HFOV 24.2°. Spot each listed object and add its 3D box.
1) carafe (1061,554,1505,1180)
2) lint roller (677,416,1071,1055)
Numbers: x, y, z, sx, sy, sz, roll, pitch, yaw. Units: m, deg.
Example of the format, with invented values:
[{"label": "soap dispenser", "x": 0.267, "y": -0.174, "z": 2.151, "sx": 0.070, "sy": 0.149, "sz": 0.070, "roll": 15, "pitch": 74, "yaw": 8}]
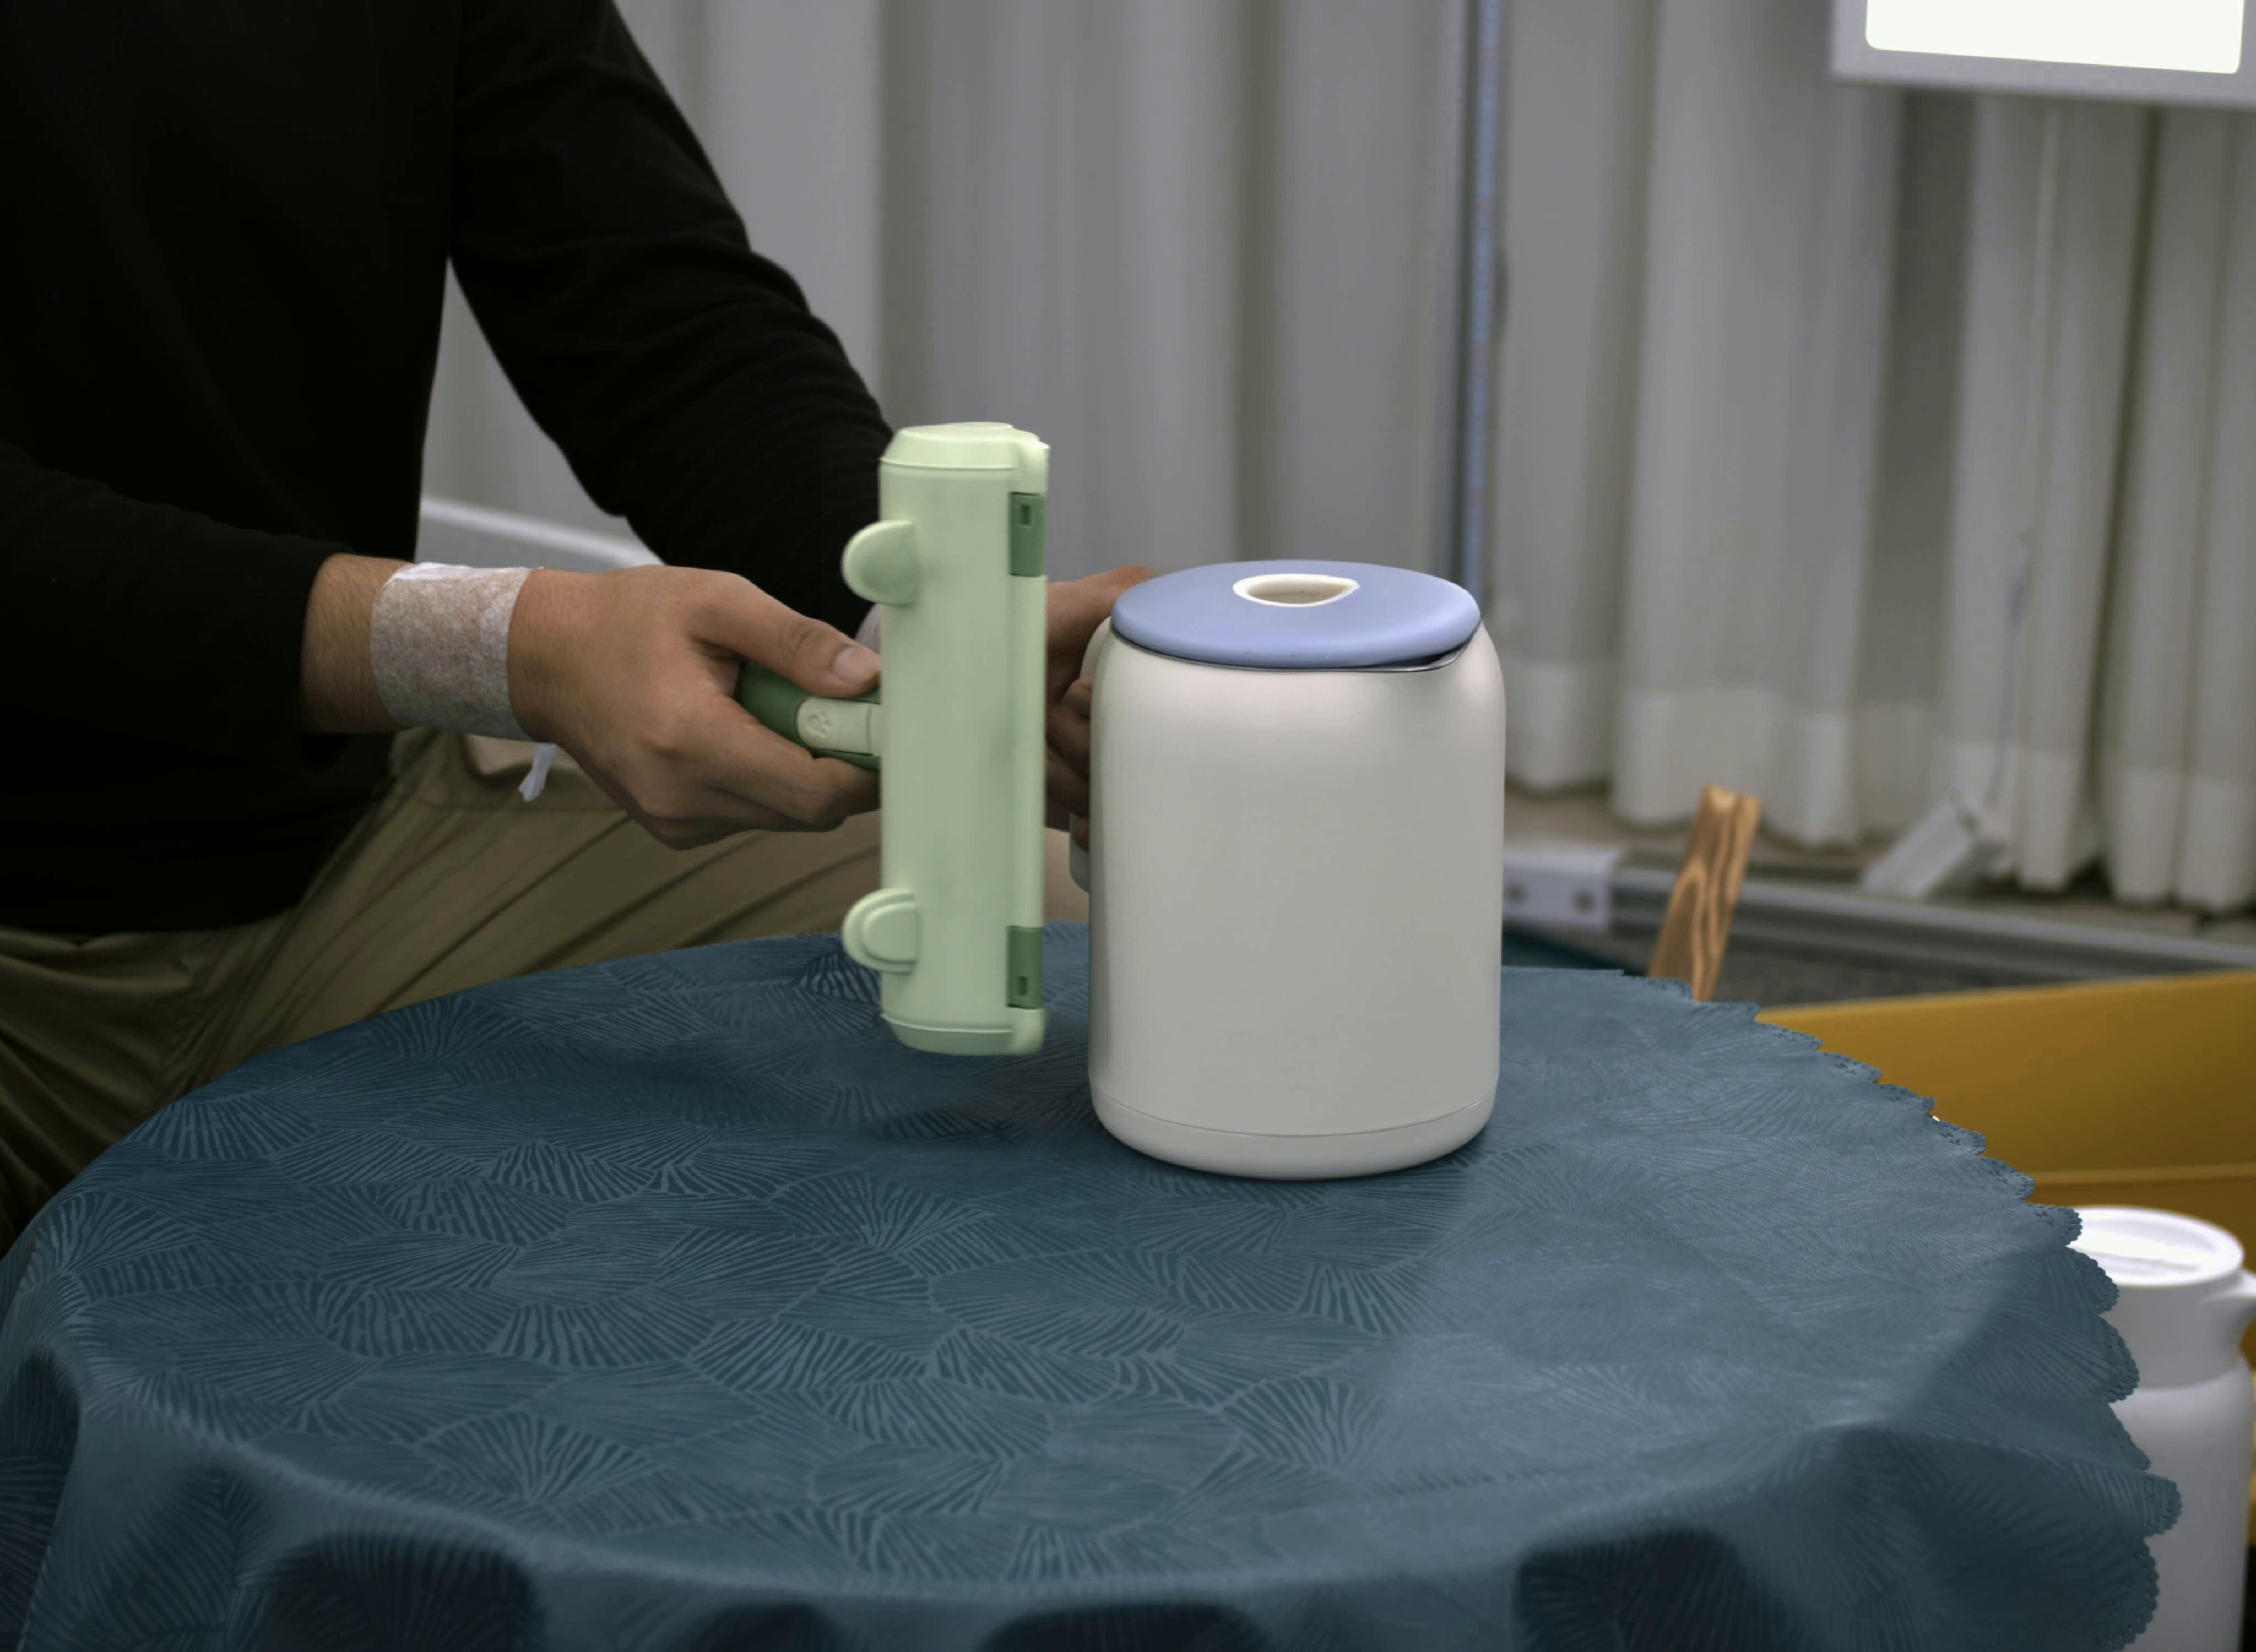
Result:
[{"label": "carafe", "x": 0.039, "y": 0.007, "z": 1.680, "sx": 0.133, "sy": 0.184, "sz": 0.188, "roll": -11, "pitch": 17, "yaw": -36}, {"label": "lint roller", "x": -0.094, "y": -0.033, "z": 1.681, "sx": 0.181, "sy": 0.200, "sz": 0.082, "roll": 7, "pitch": 13, "yaw": 36}]
